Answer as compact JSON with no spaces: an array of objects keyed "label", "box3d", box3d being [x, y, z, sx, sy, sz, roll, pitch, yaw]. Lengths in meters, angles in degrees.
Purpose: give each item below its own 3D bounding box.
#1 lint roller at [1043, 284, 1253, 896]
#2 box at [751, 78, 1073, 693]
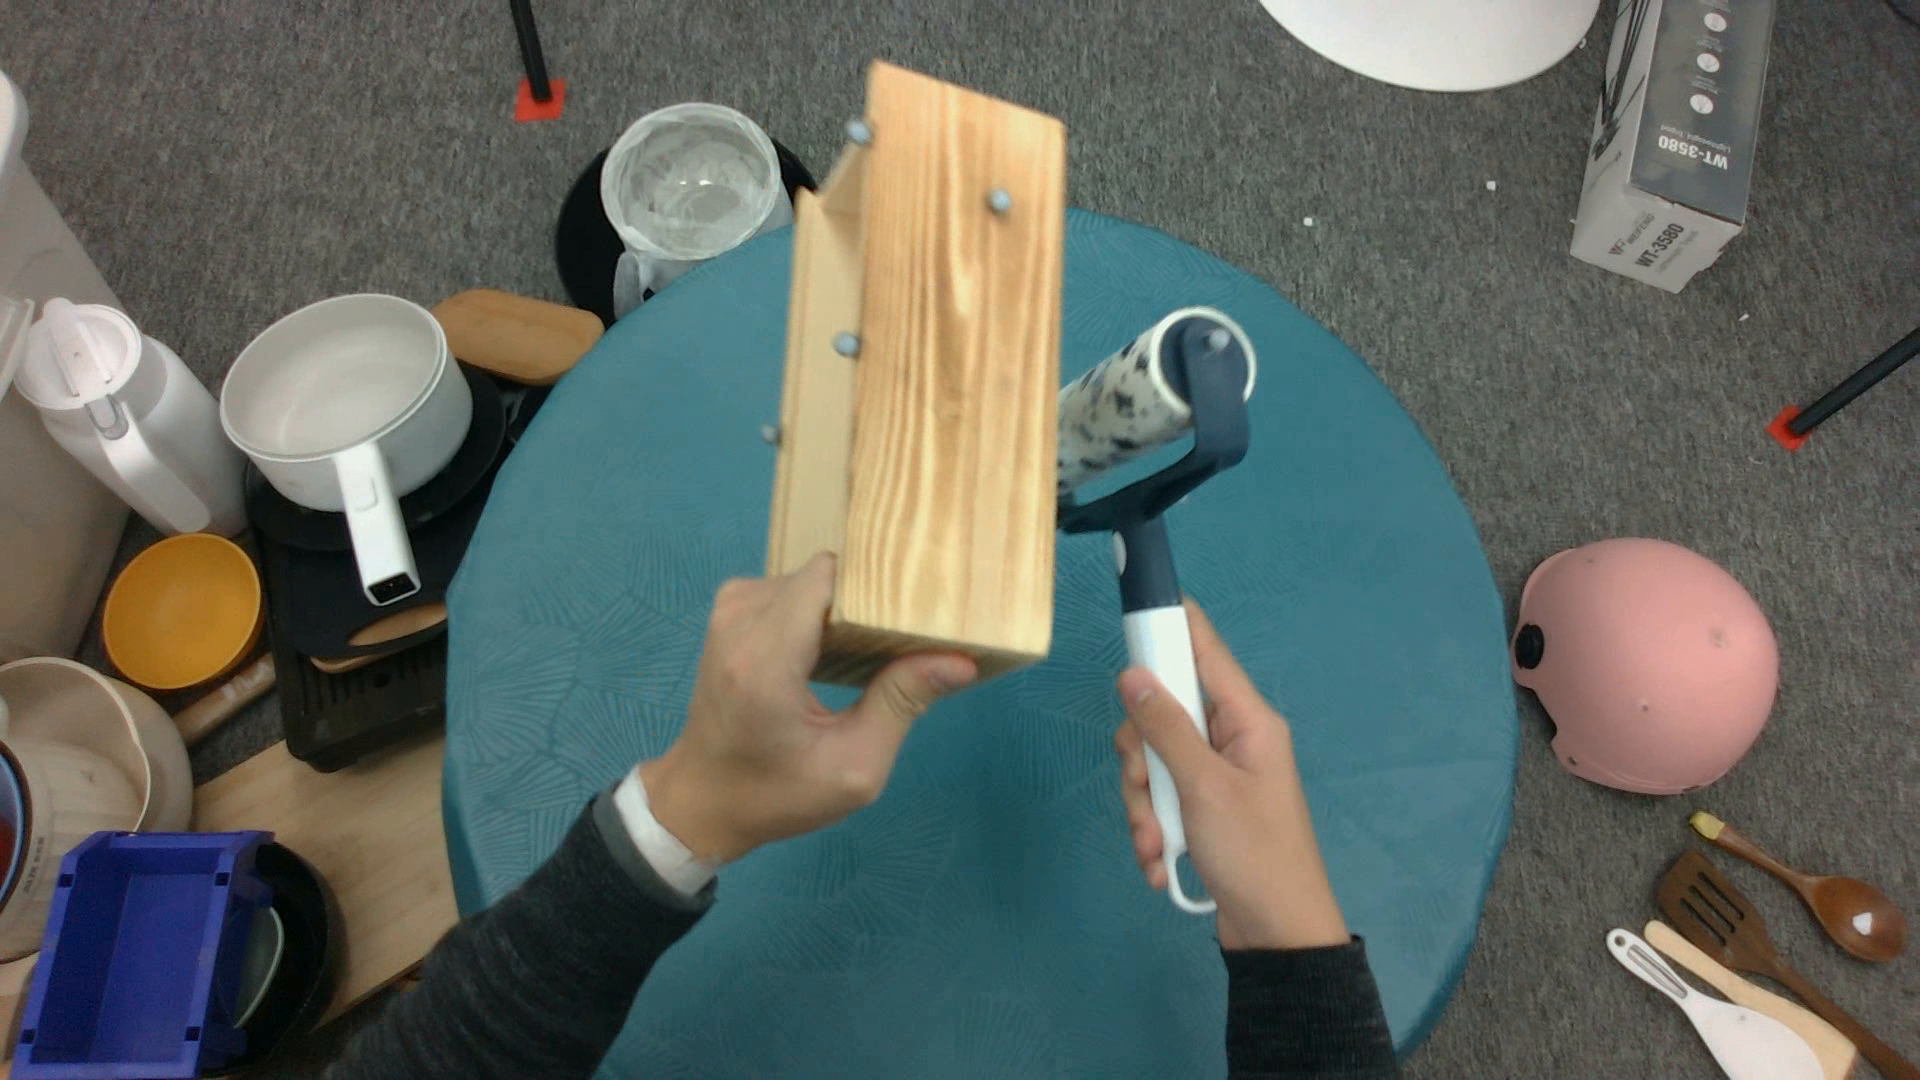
[{"label":"lint roller","box3d":[0.085,0.030,0.611,0.050,0.176,0.247,-8,84,-21]},{"label":"box","box3d":[-0.019,-0.056,0.547,0.080,0.107,0.212,12,70,-21]}]
